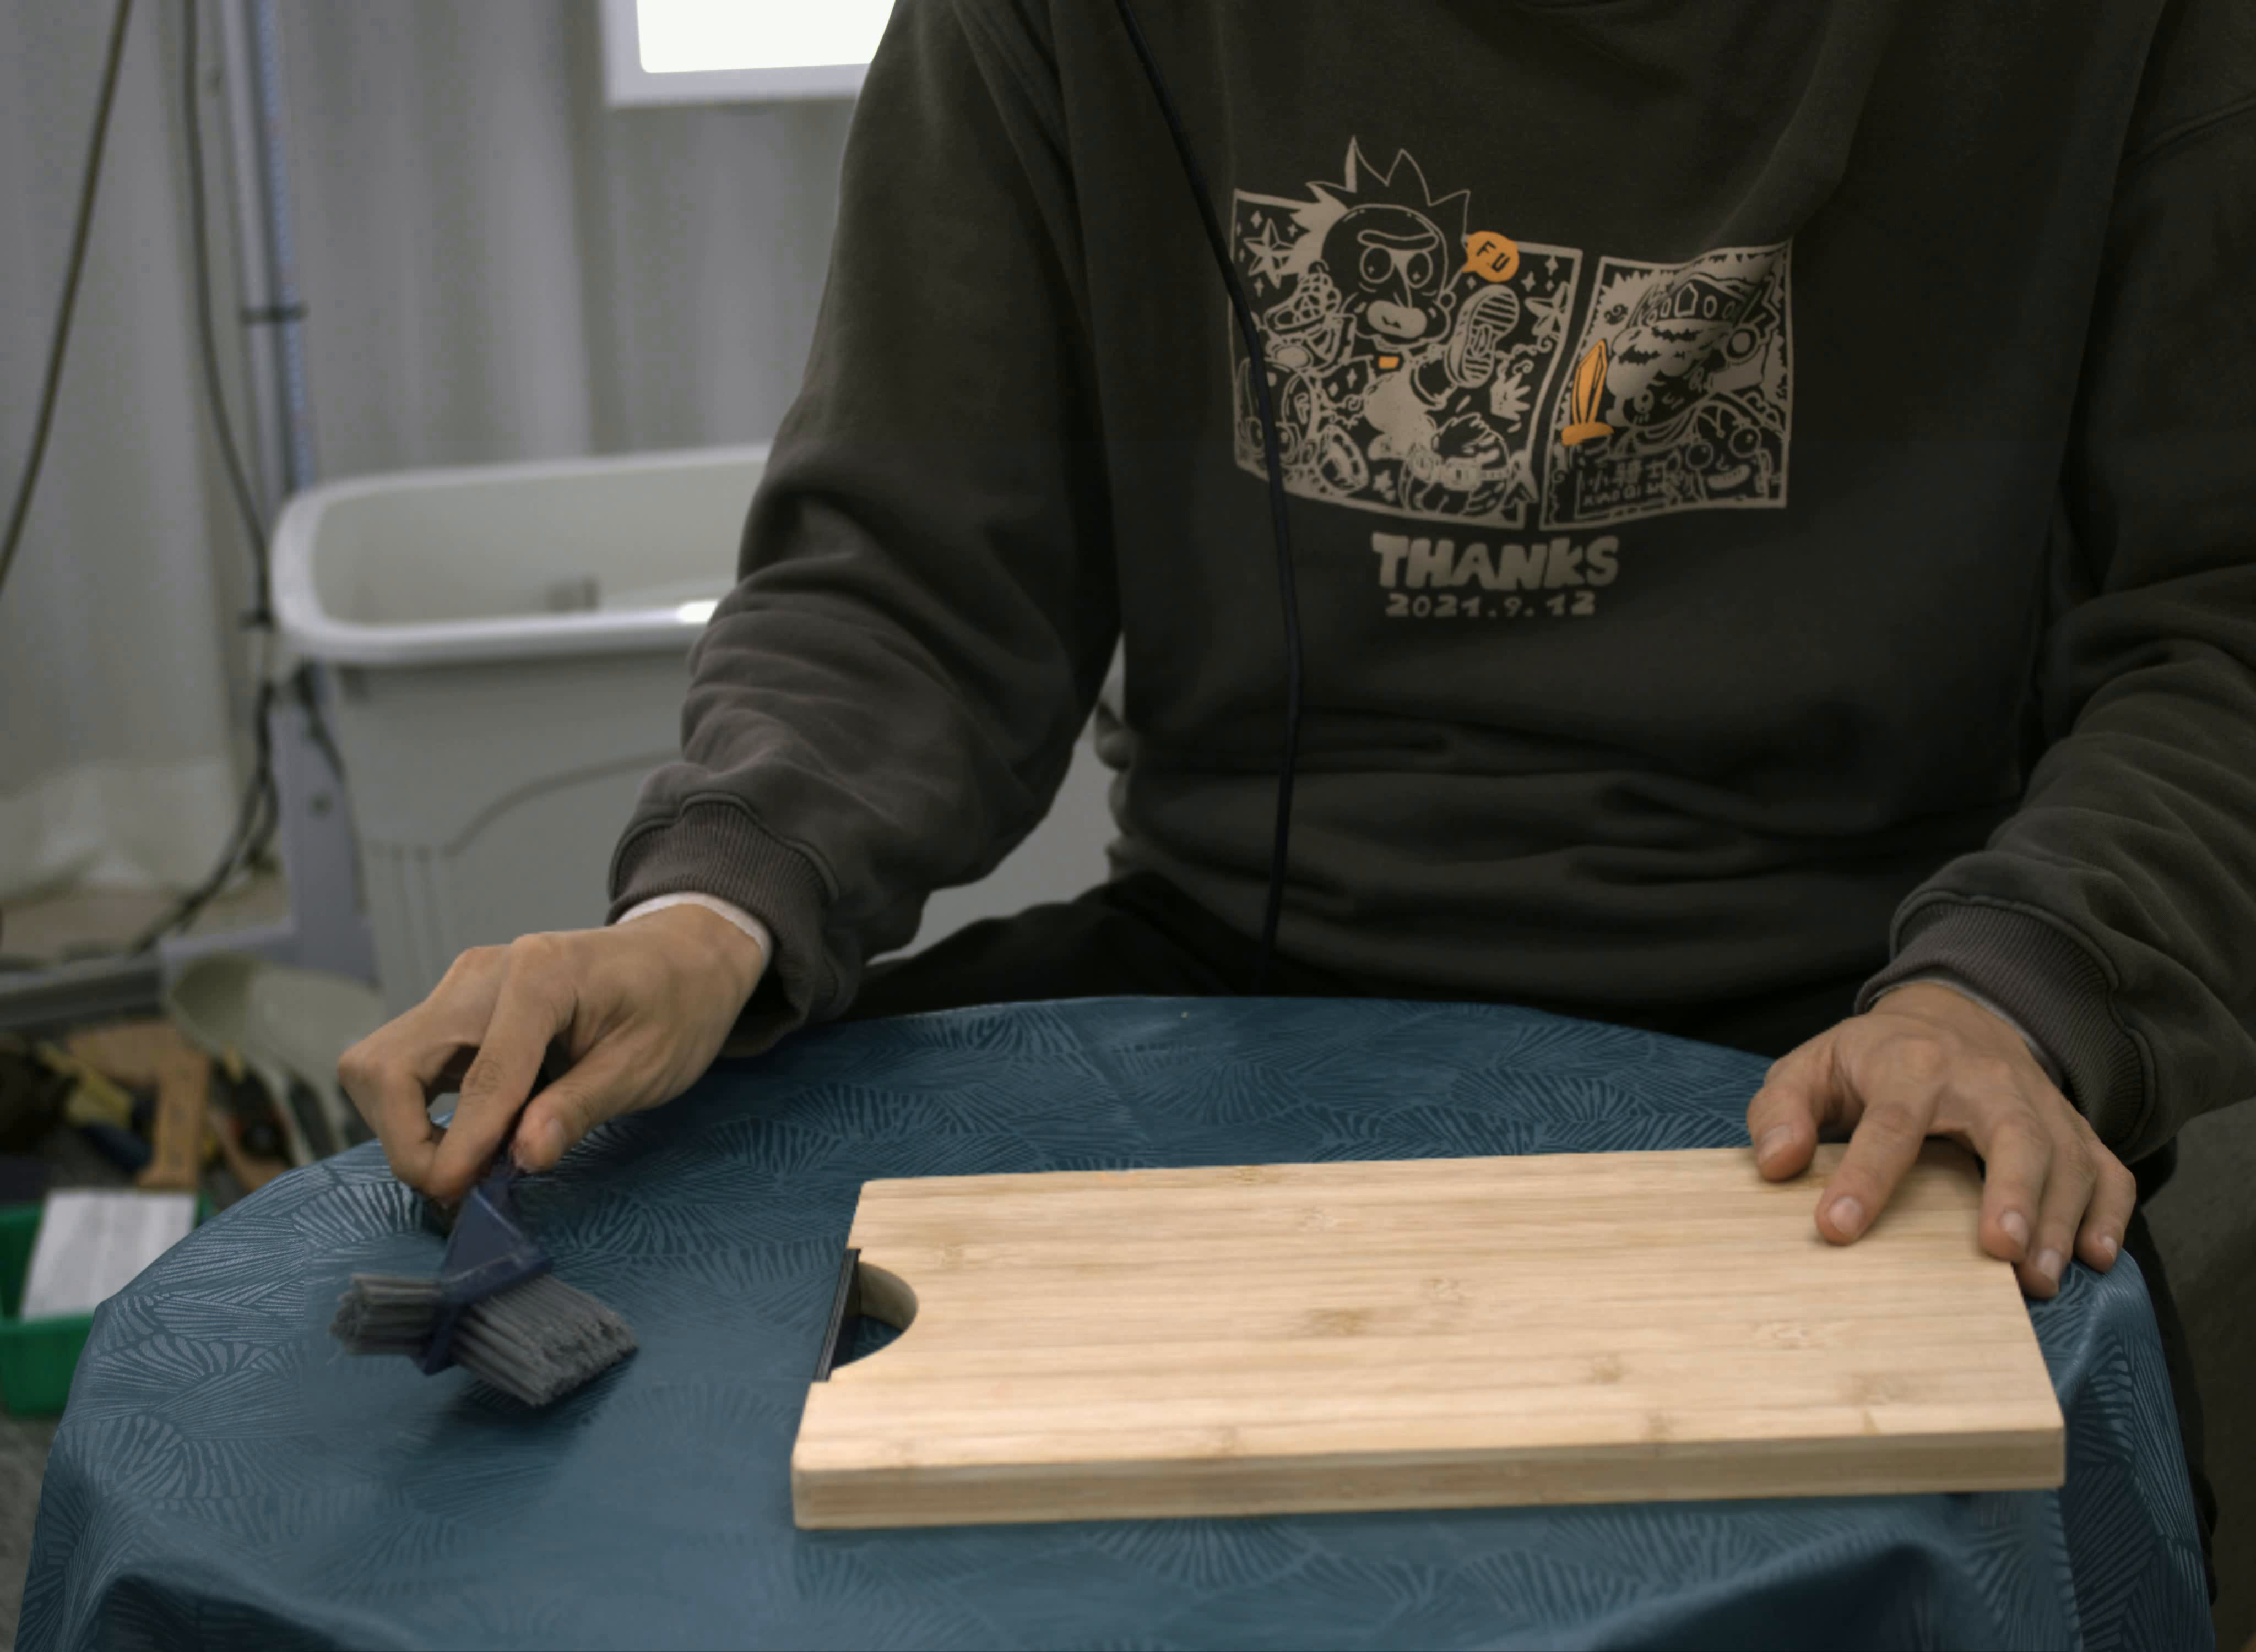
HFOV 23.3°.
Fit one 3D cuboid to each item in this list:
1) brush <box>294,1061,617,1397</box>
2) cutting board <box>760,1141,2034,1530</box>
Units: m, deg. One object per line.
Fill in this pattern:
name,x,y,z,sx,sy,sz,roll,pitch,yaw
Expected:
brush,-0.201,0.115,1.664,0.095,0.033,0.275,21,11,-11
cutting board,0.077,0.144,1.568,0.347,0.023,0.252,-2,14,2
